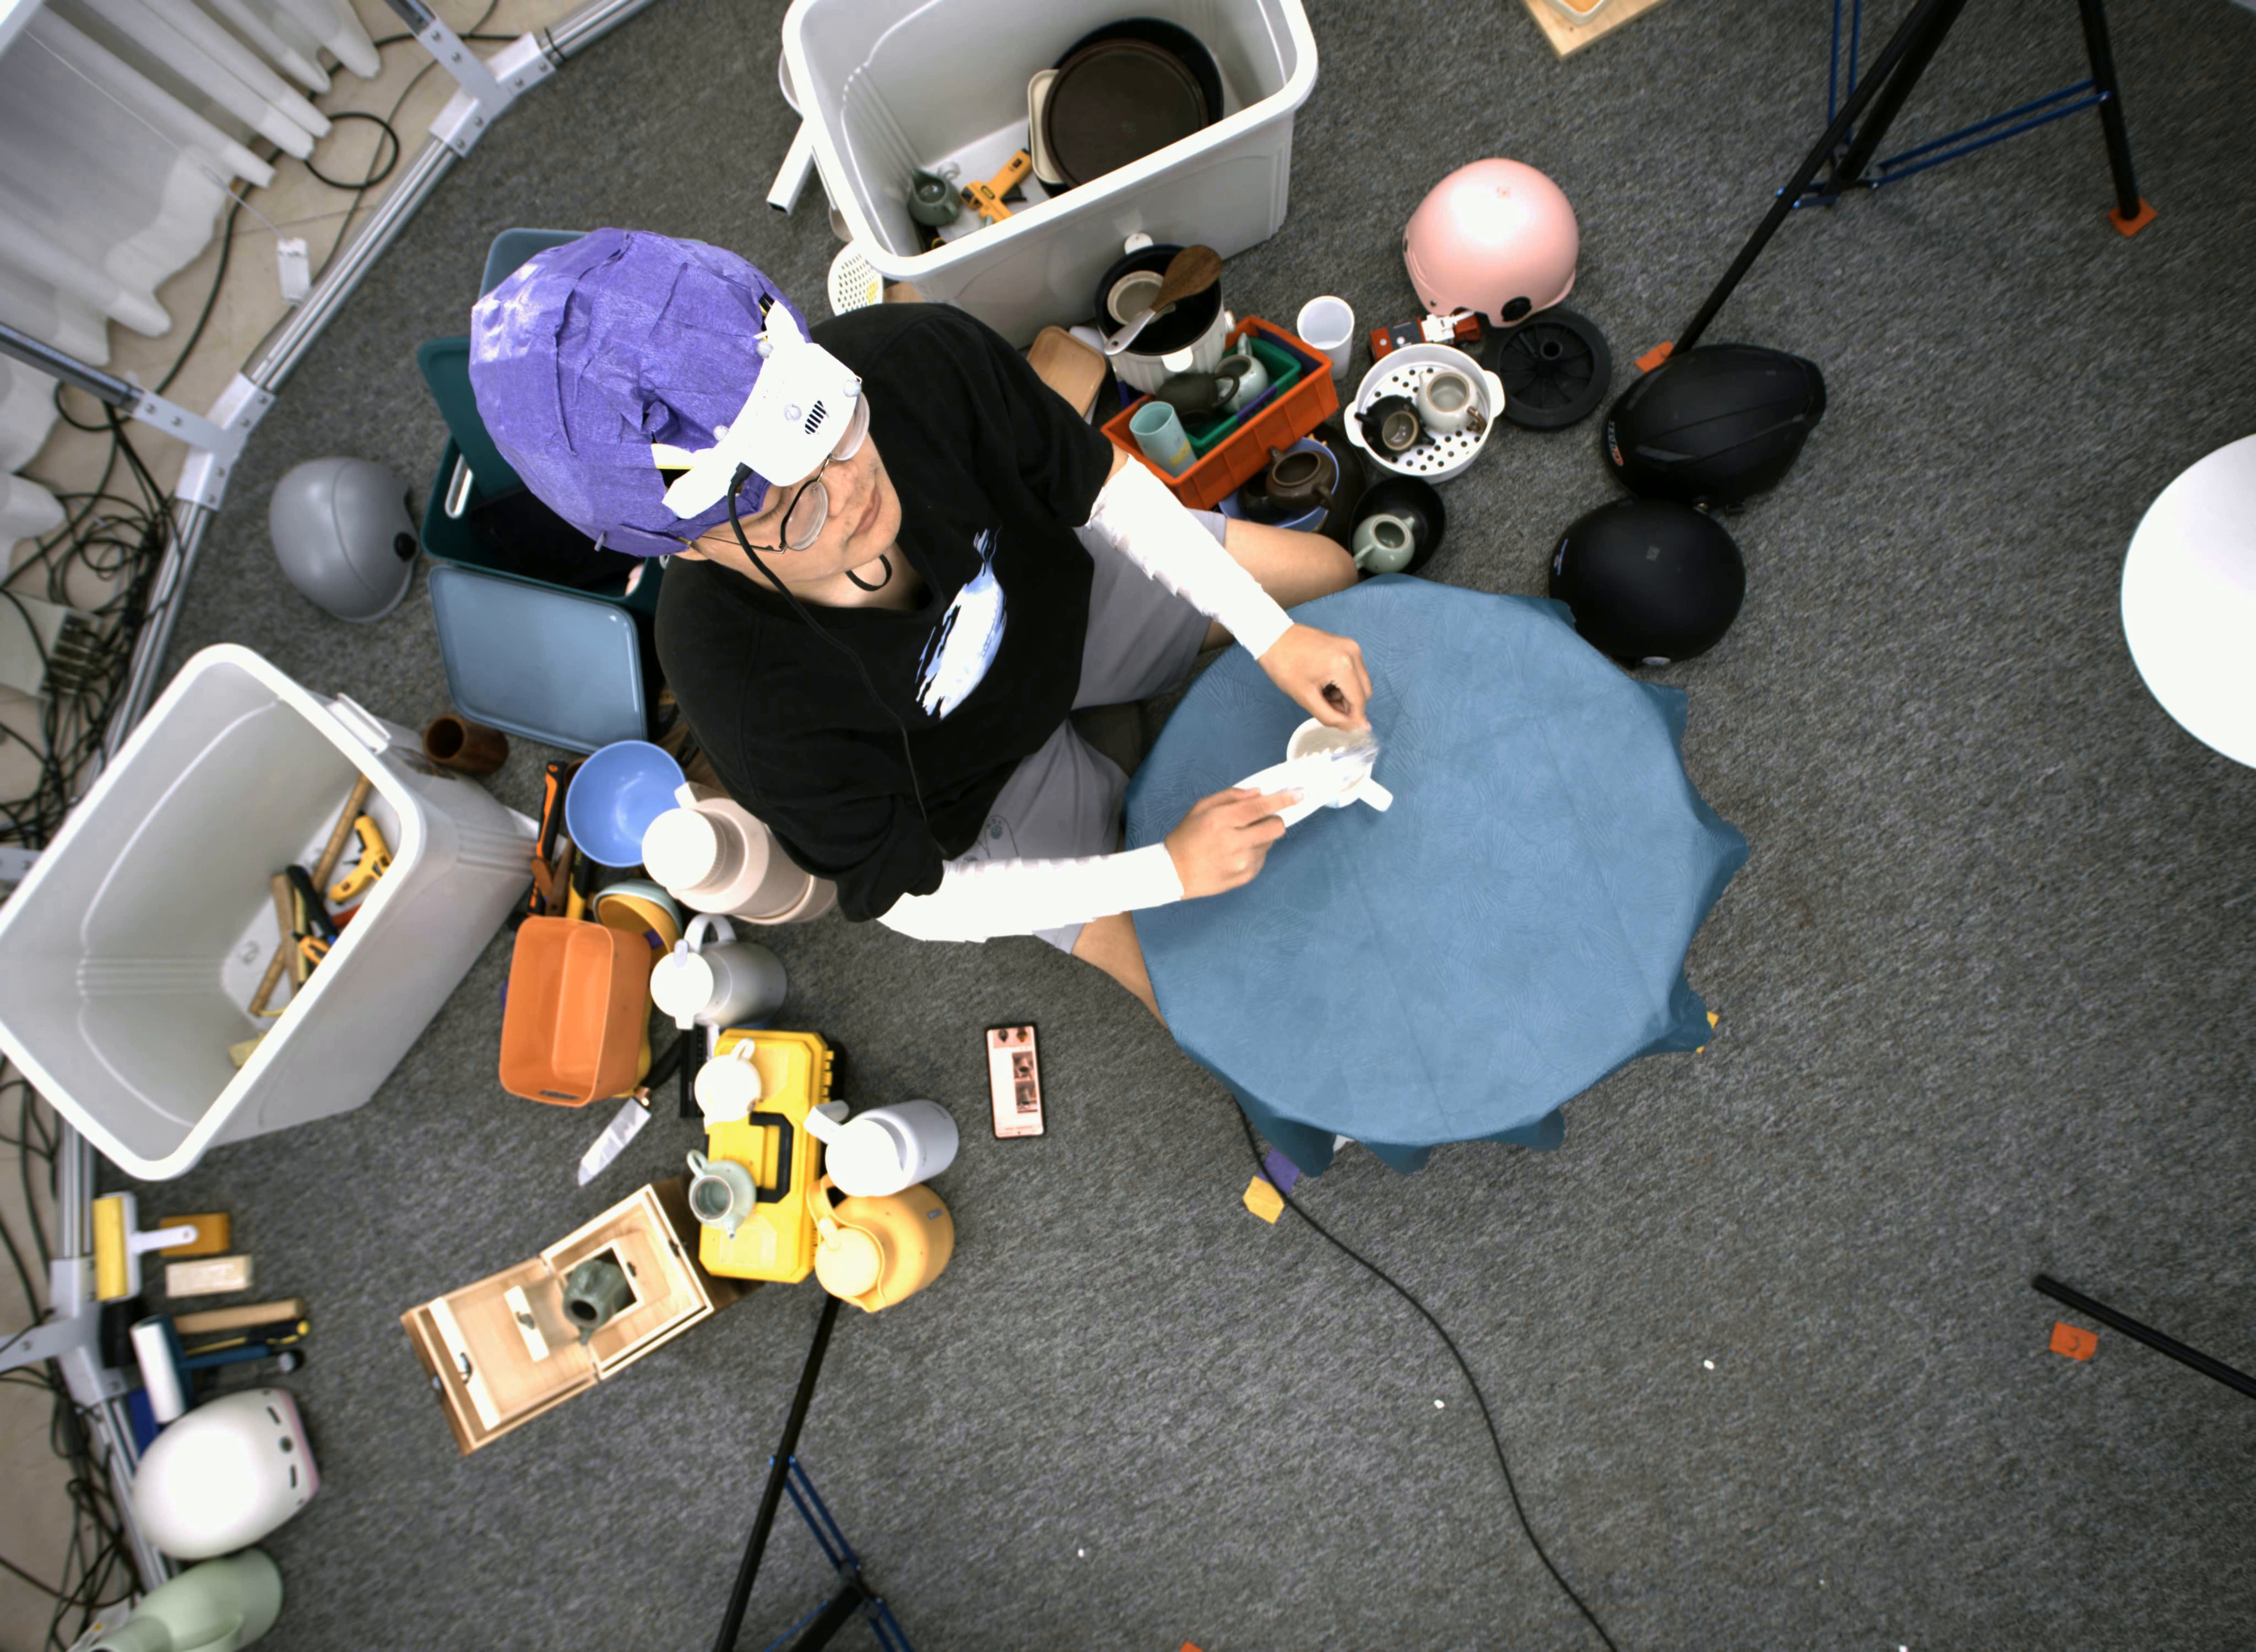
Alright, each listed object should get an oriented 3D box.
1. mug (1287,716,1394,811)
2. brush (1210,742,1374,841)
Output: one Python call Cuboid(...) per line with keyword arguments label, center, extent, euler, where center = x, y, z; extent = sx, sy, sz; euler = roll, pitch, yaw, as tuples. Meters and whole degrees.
Cuboid(label="mug", center=(0.223, -0.056, 1.422), extent=(0.118, 0.102, 0.085), euler=(35, 92, 10))
Cuboid(label="brush", center=(0.156, -0.033, 1.354), extent=(0.178, 0.092, 0.062), euler=(-25, 100, 31))
